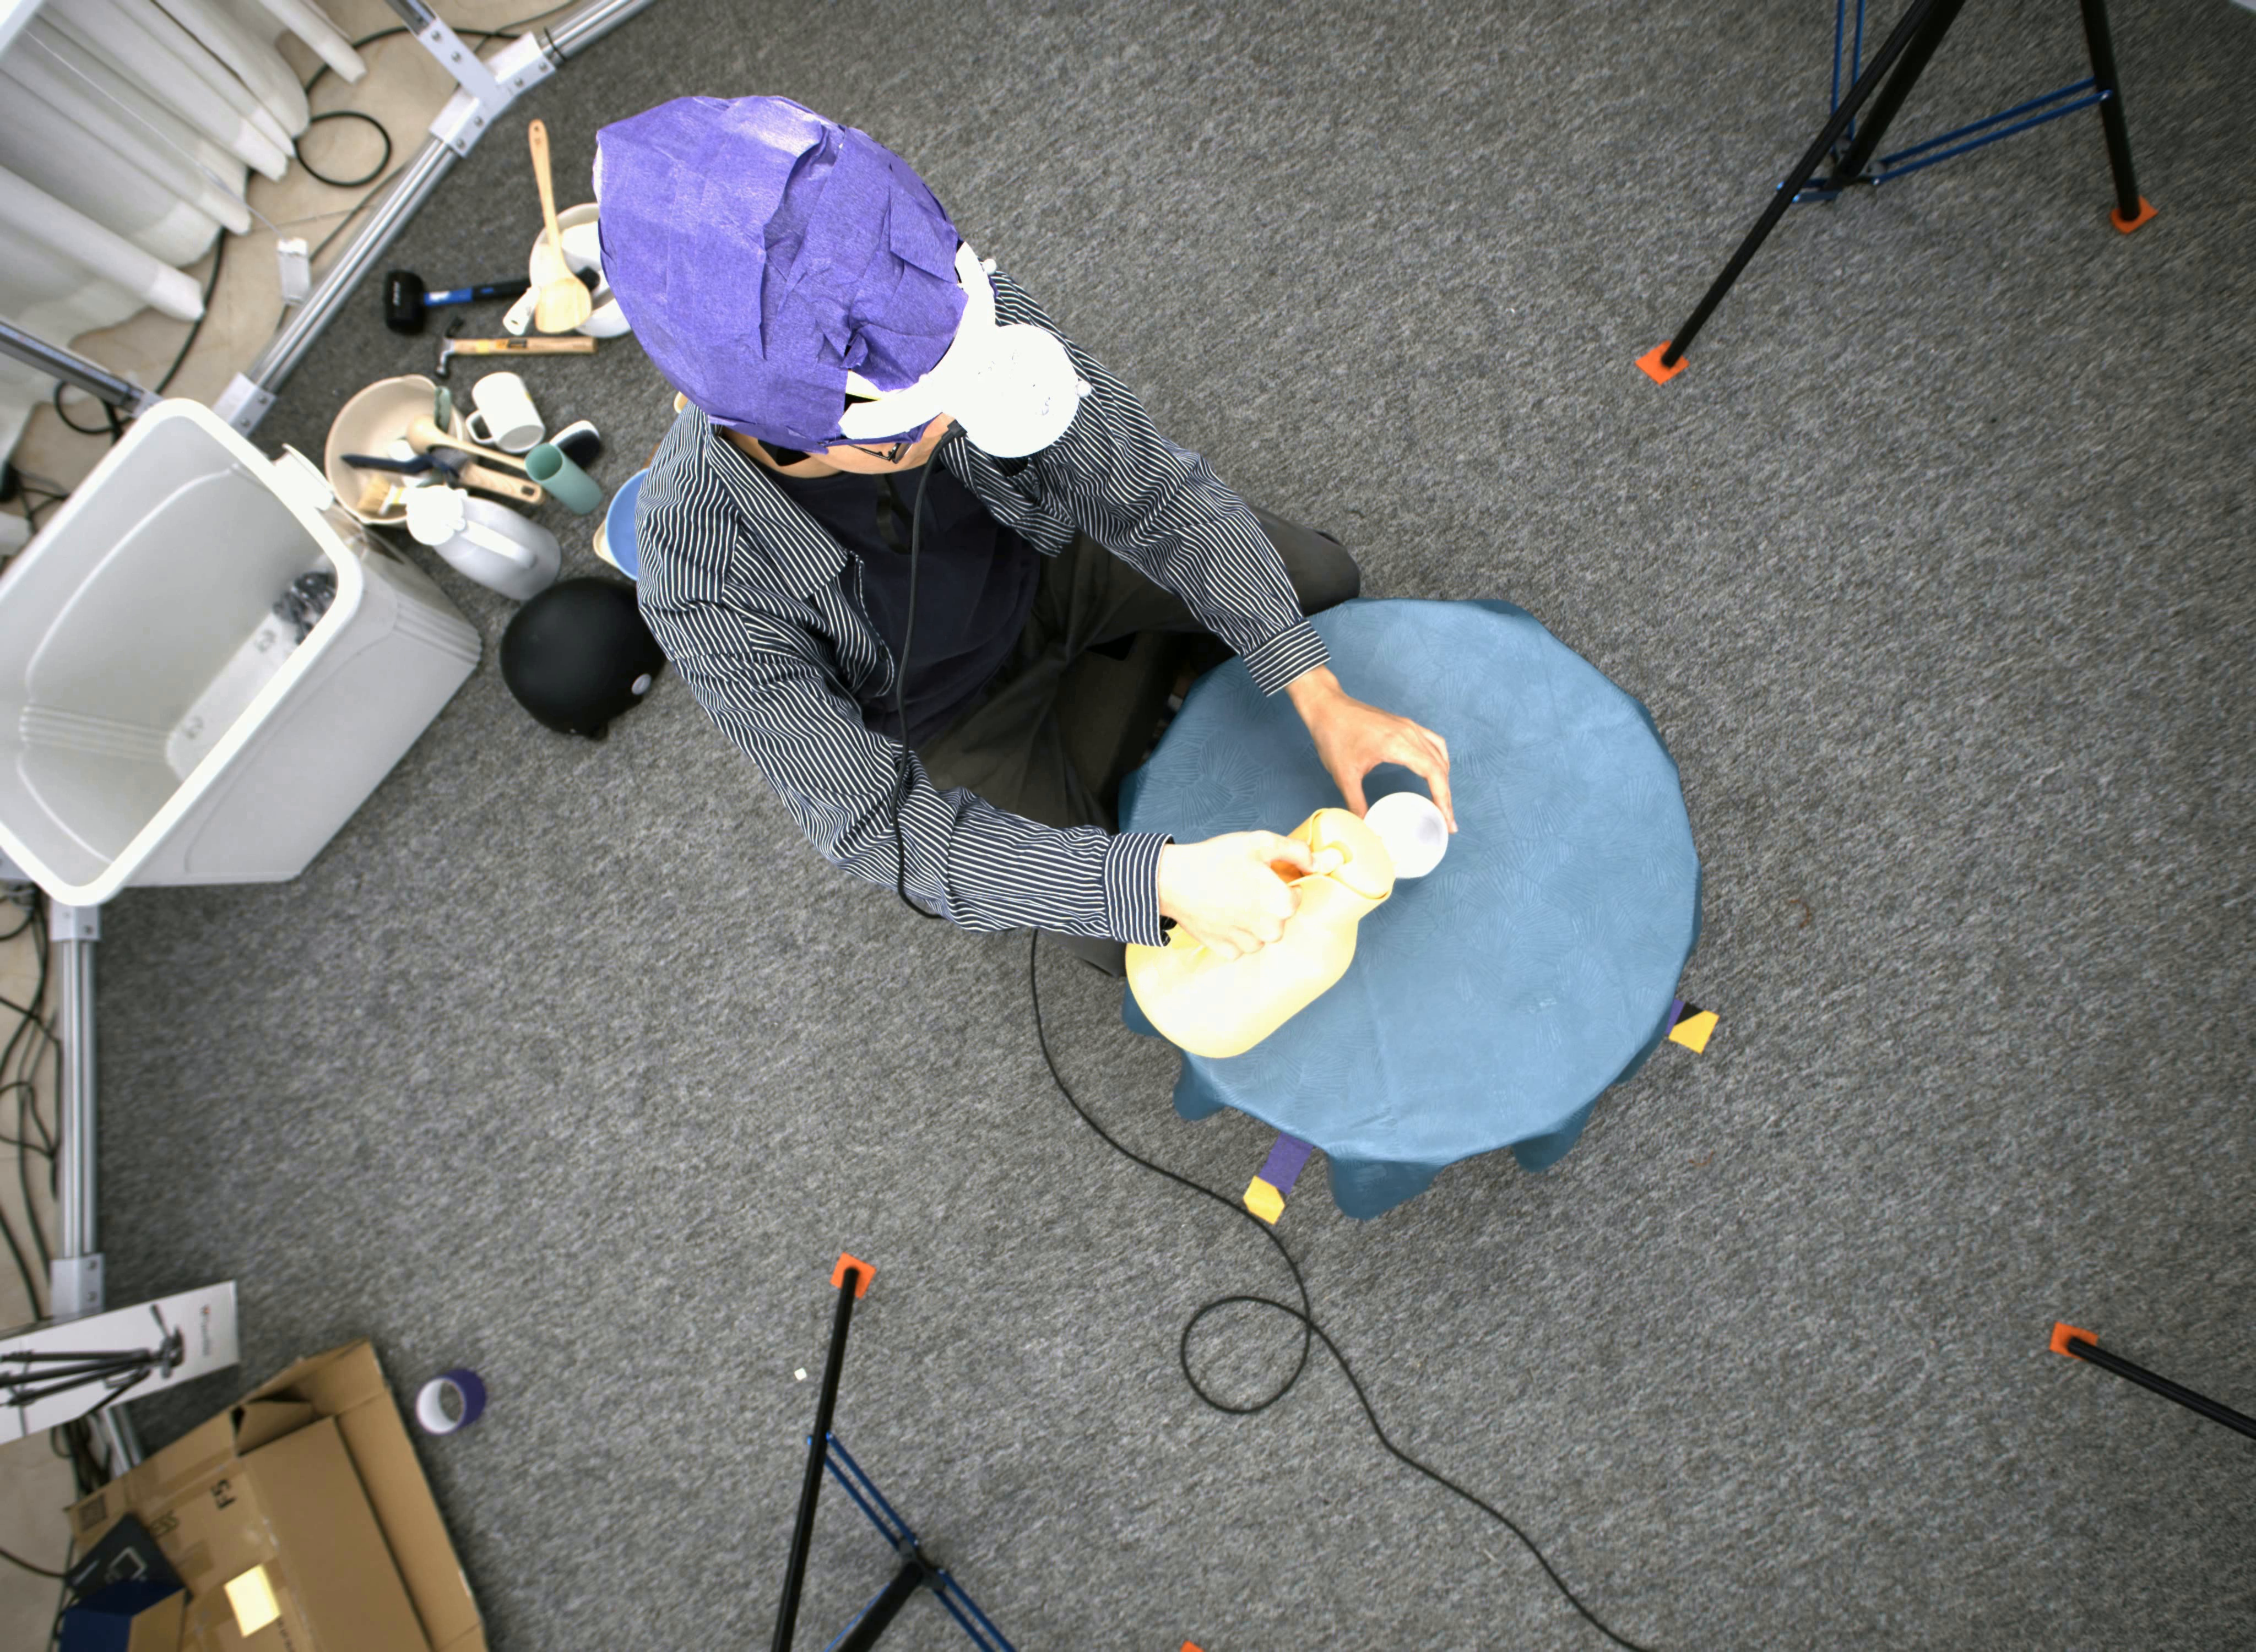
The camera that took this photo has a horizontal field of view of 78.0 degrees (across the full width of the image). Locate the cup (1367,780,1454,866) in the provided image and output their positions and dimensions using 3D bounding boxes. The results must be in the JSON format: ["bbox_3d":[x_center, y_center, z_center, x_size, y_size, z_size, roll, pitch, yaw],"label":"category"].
[{"bbox_3d":[0.277,0.000,1.342,0.082,0.125,0.081,-1,87,13],"label":"cup"}]

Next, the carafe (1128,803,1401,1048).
[{"bbox_3d":[0.115,0.083,1.245,0.266,0.200,0.162,-43,70,36],"label":"carafe"}]
